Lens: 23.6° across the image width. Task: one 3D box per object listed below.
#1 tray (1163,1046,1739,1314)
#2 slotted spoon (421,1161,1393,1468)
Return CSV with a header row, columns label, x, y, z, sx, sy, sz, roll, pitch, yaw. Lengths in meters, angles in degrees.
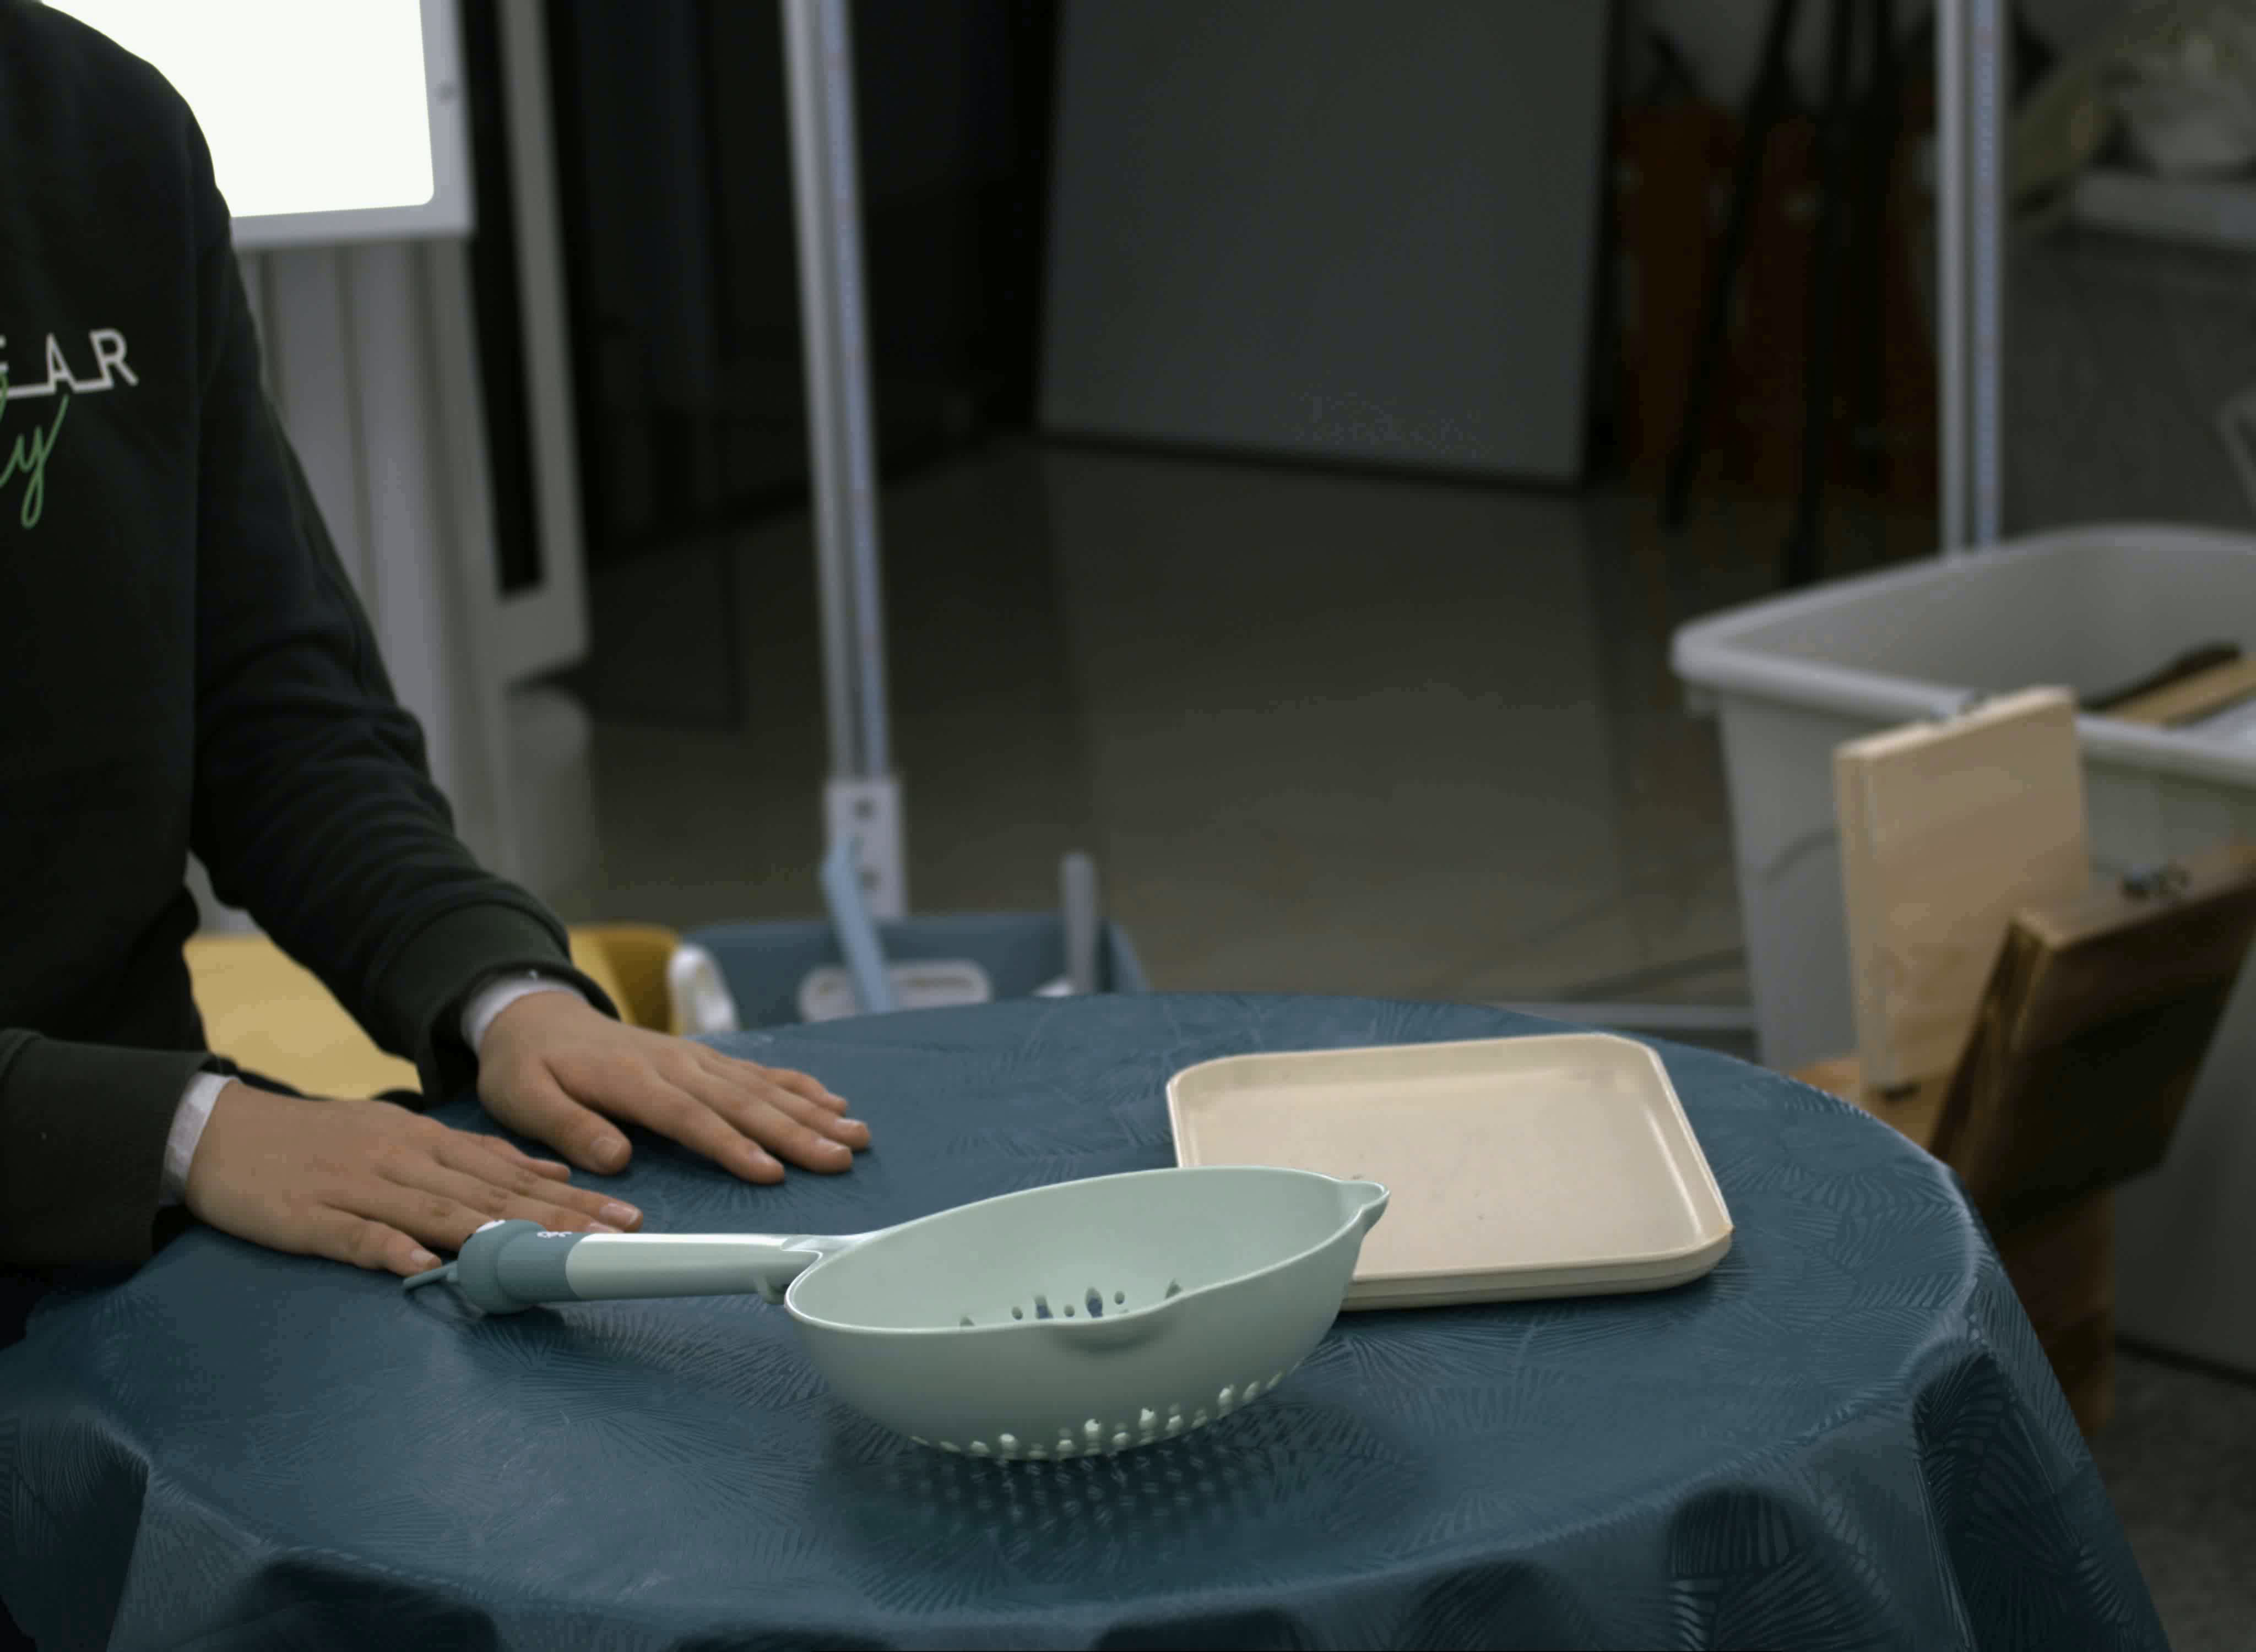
label,x,y,z,sx,sy,sz,roll,pitch,yaw
tray,0.100,0.113,1.739,0.169,0.017,0.240,-4,13,-1
slotted spoon,-0.086,0.137,1.603,0.361,0.076,0.166,6,16,39
